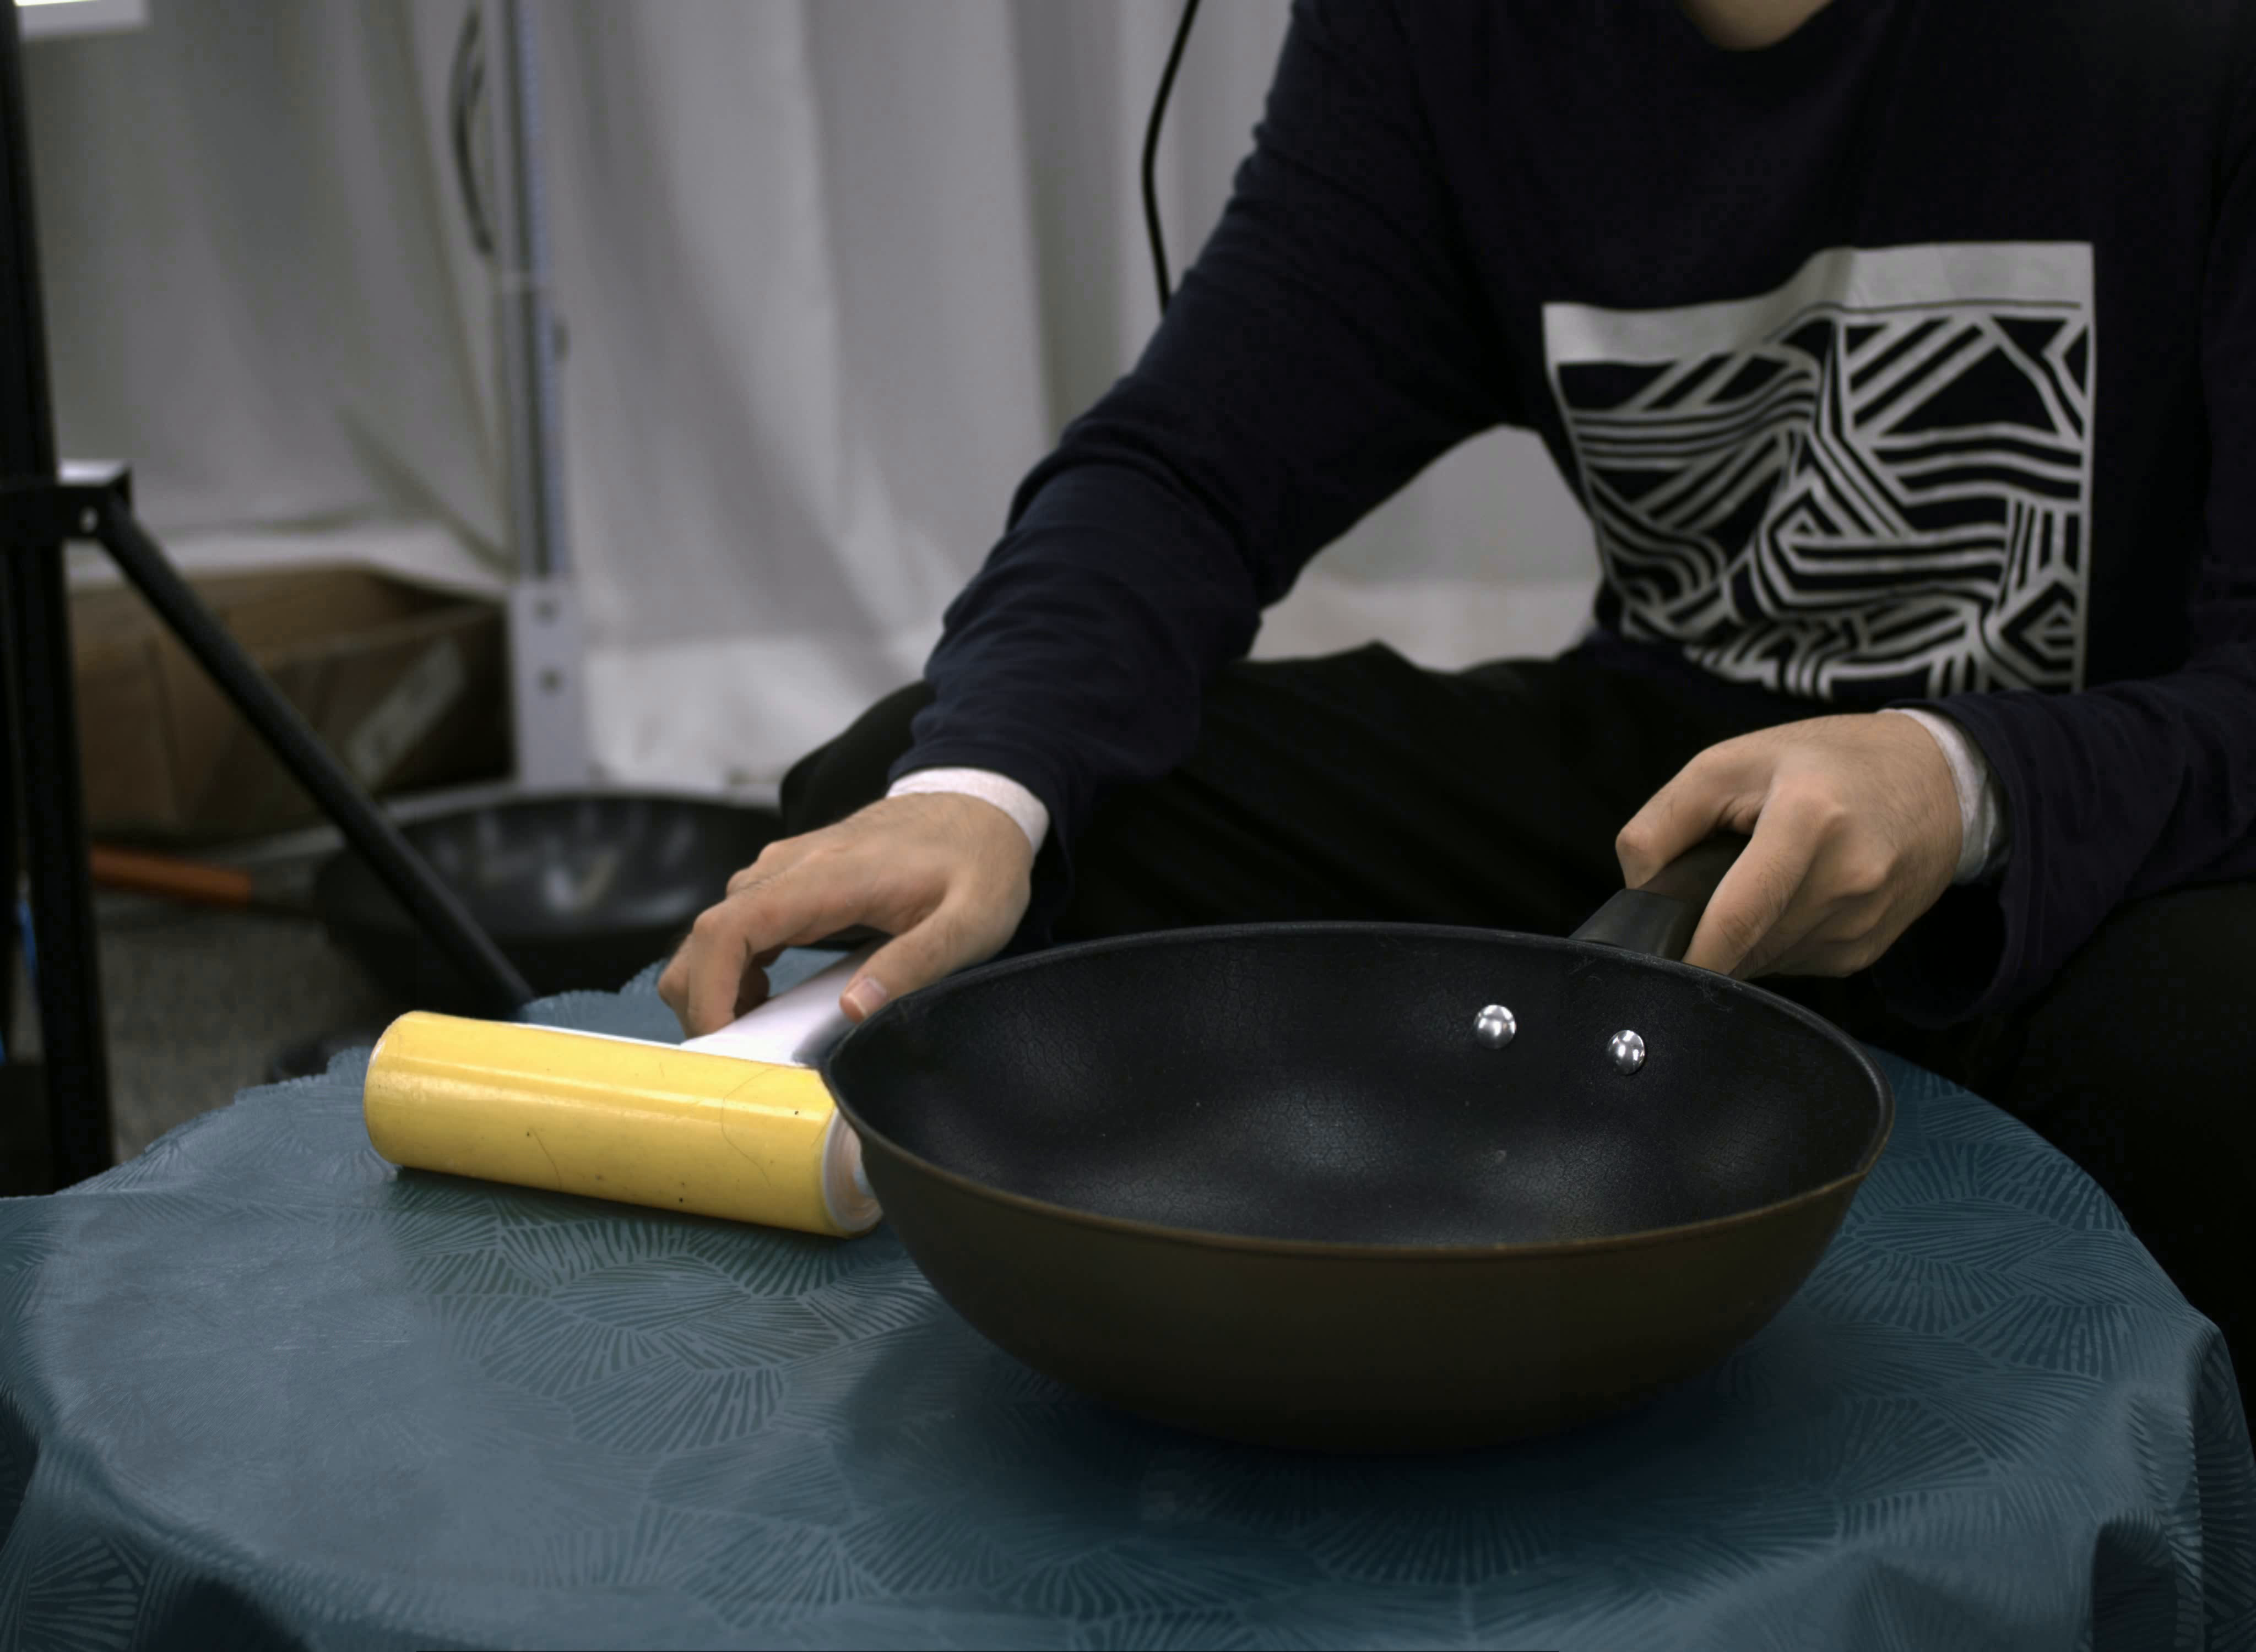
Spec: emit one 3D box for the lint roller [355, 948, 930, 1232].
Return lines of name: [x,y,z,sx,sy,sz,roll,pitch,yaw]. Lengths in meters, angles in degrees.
lint roller: [-0.116,0.060,1.629,0.177,0.051,0.189,7,25,29]

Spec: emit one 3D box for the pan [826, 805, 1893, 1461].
pan: [0.104,0.081,1.486,0.293,0.087,0.455,9,18,29]
